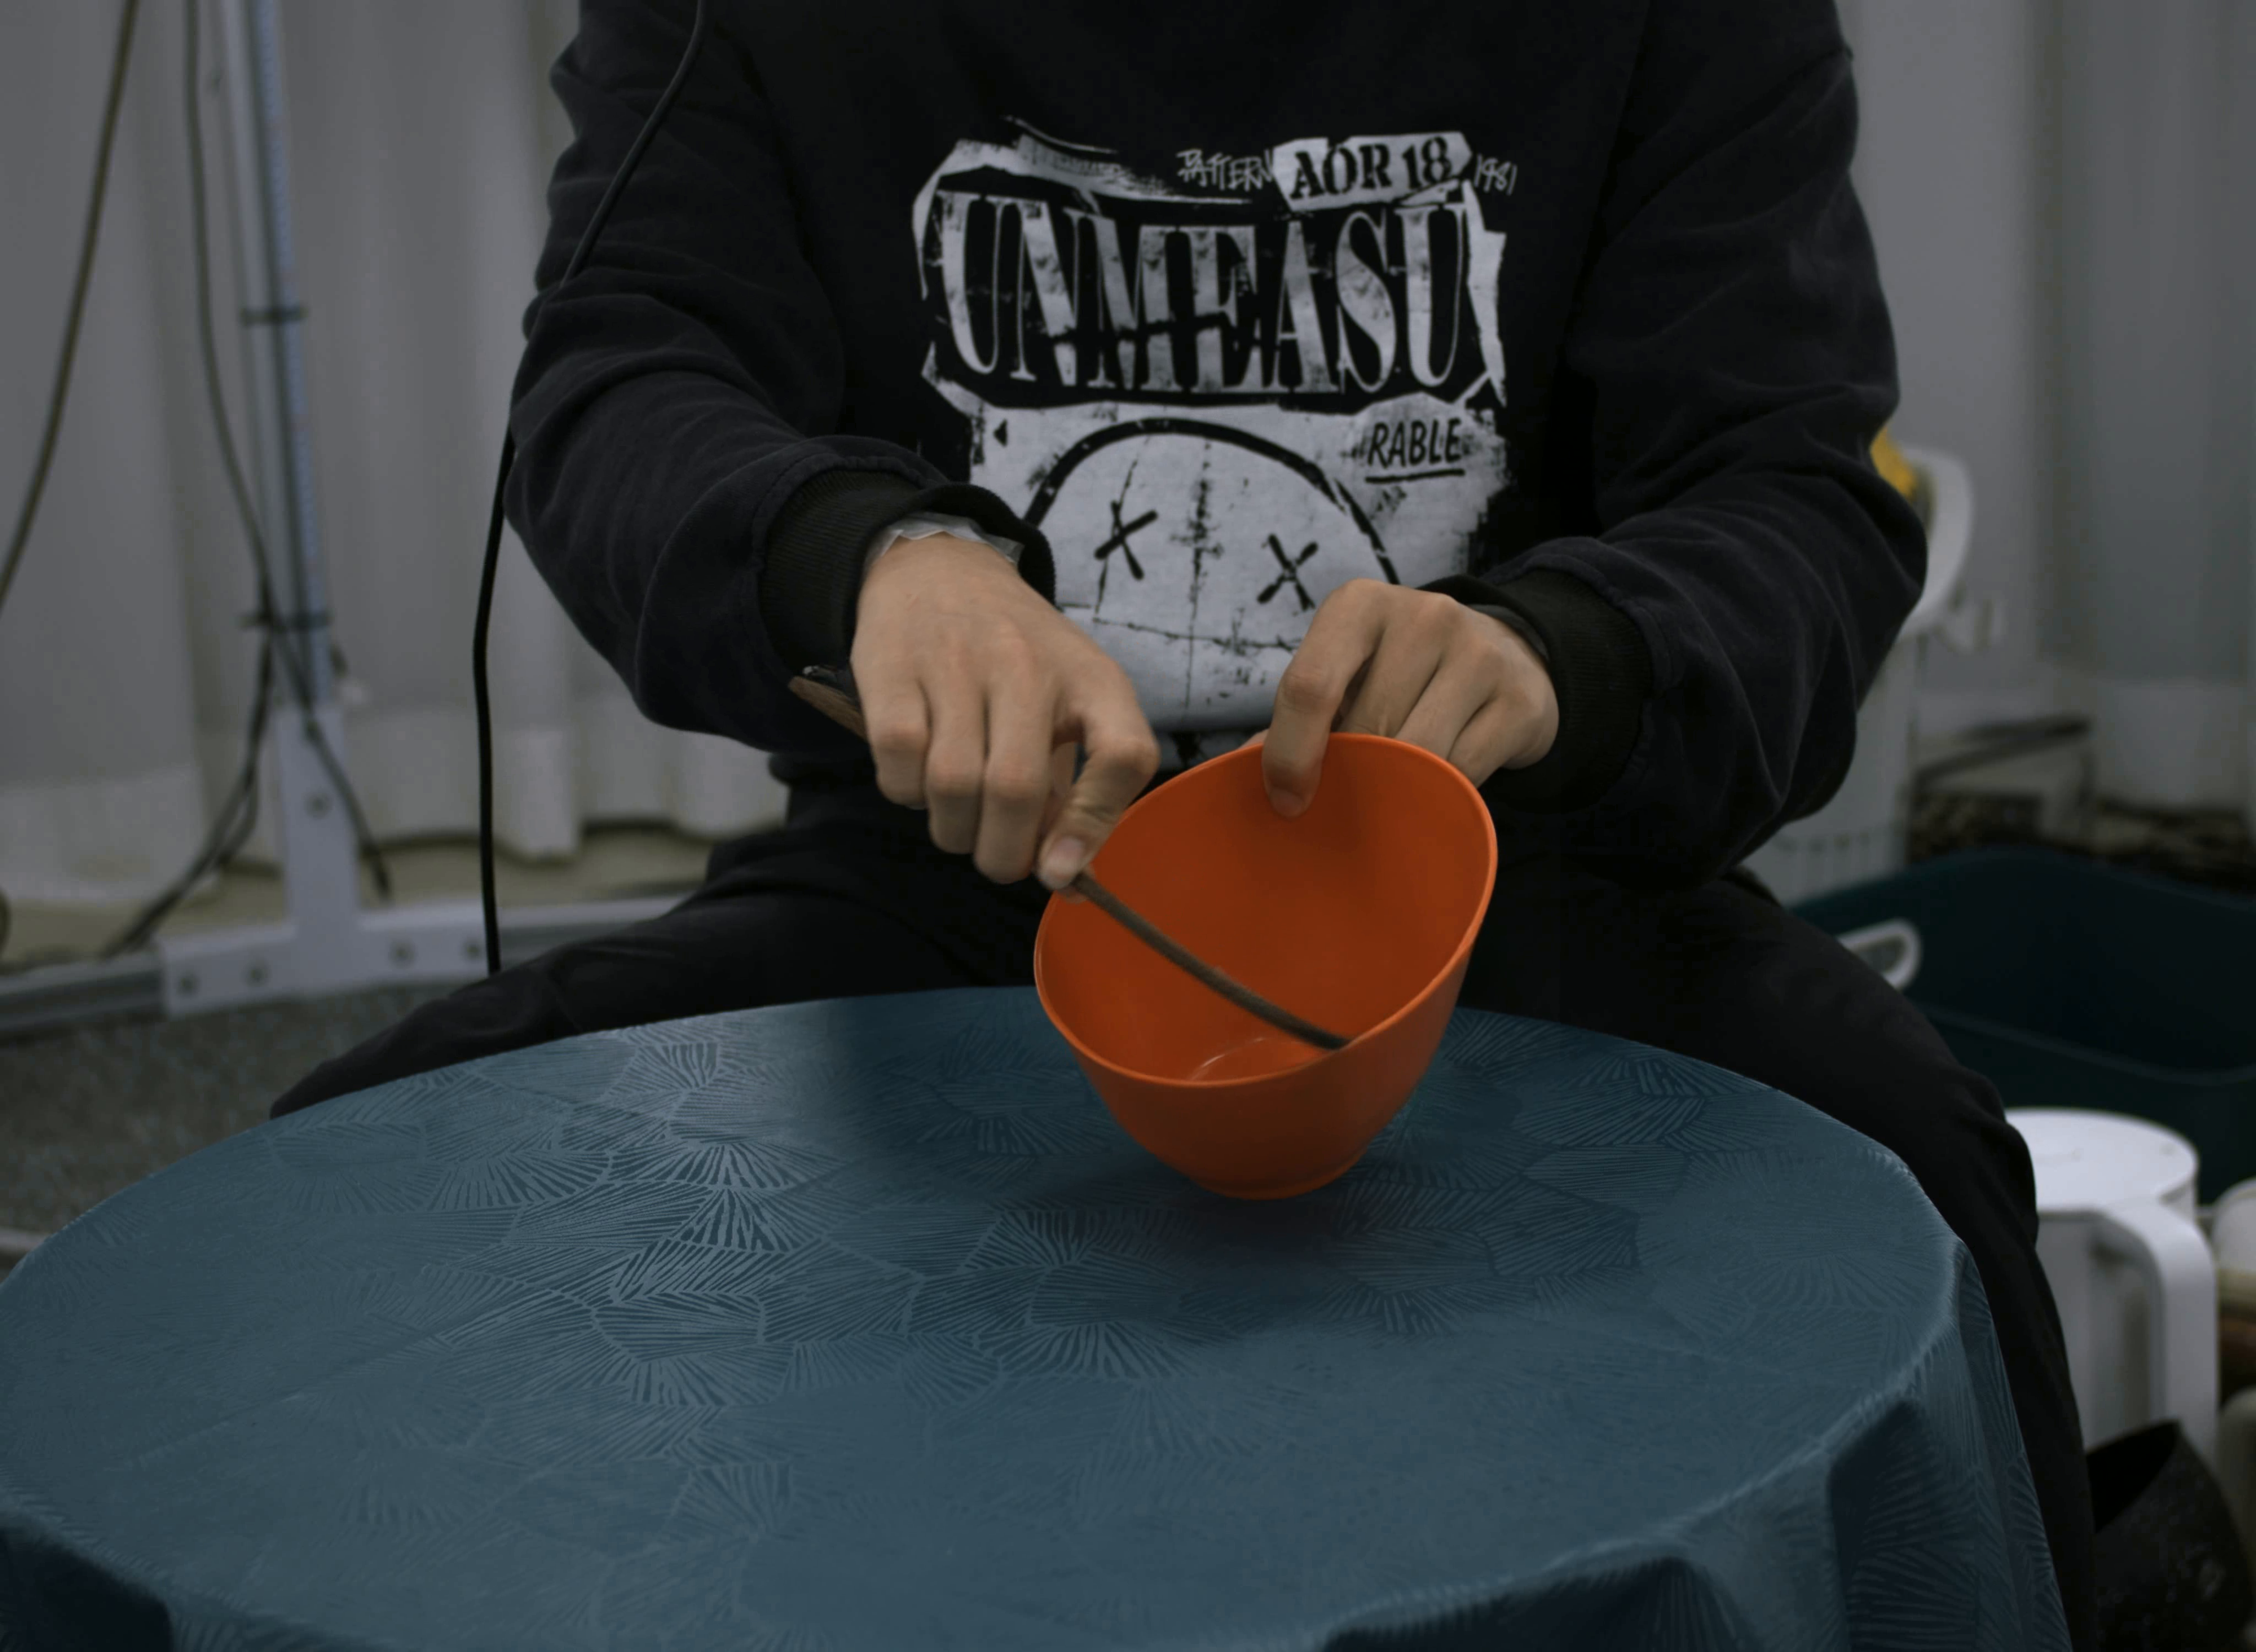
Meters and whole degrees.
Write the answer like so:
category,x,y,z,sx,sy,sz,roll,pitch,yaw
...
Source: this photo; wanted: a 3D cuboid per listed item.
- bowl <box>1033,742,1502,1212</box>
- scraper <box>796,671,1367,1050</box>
category,x,y,z,sx,sy,sz,roll,pitch,yaw
bowl,0.048,0.057,1.692,0.147,0.103,0.150,-7,39,6
scraper,-0.016,0.011,1.655,0.212,0.011,0.075,34,-3,16
